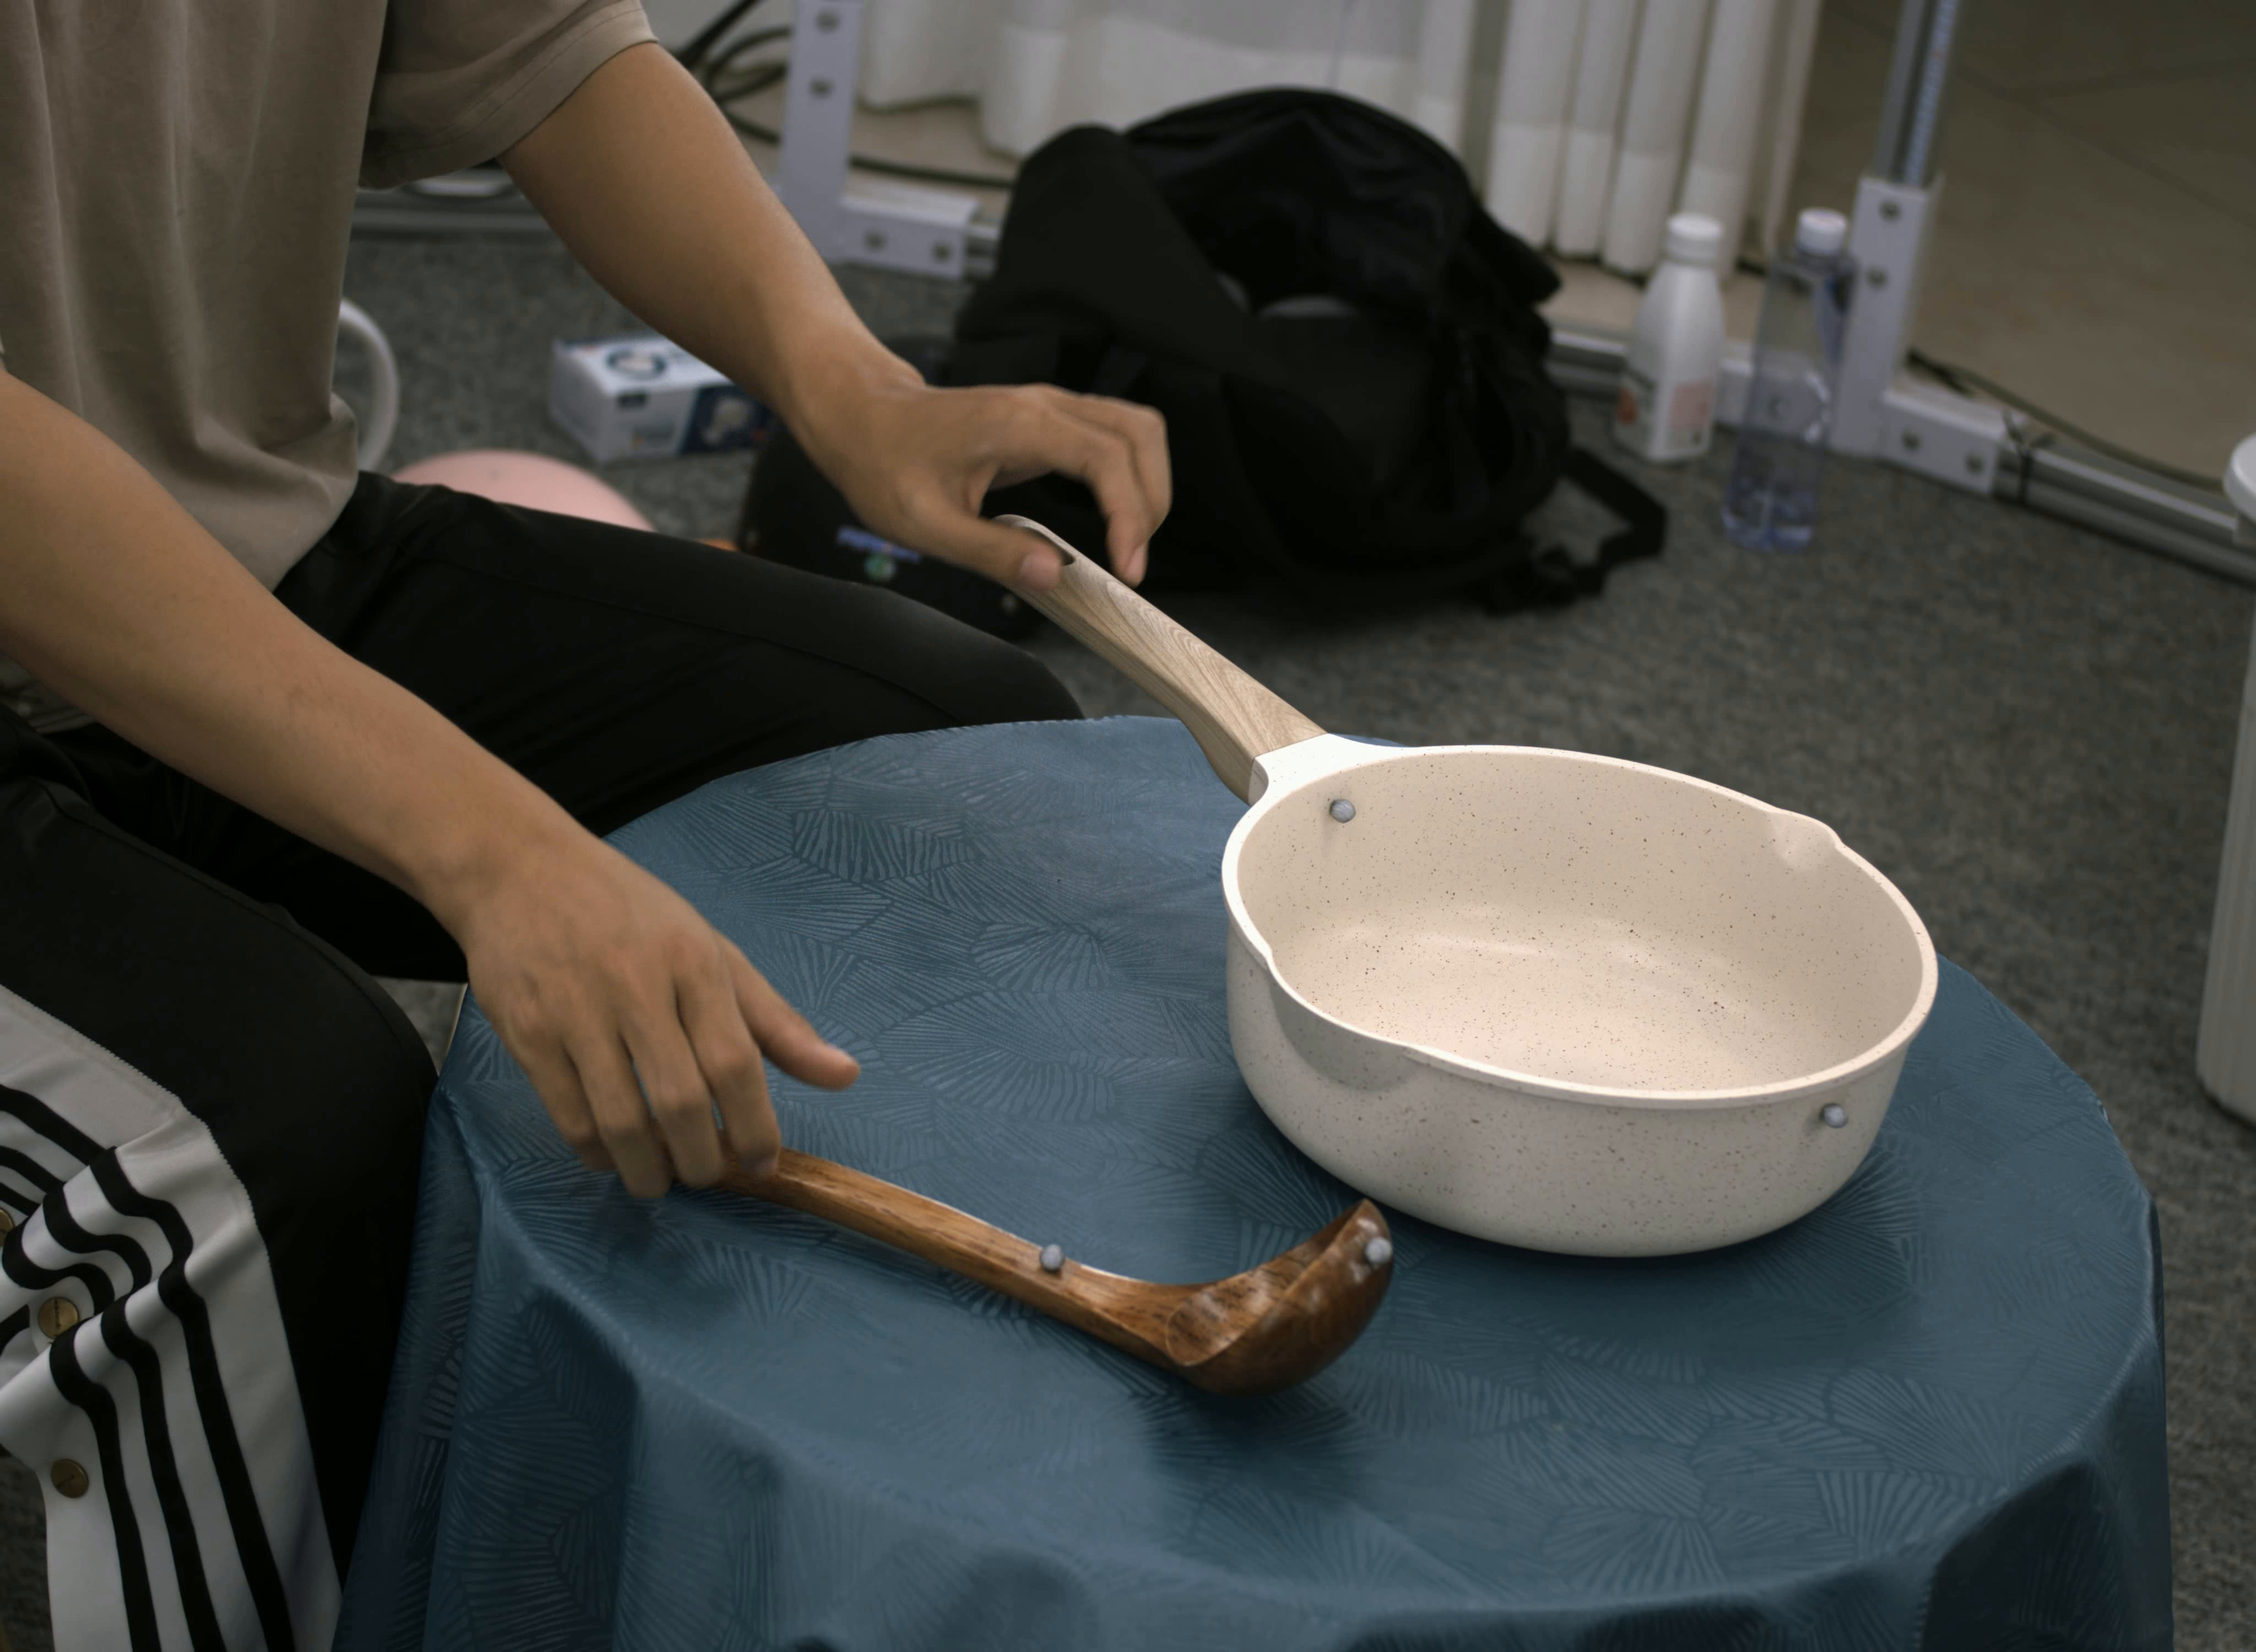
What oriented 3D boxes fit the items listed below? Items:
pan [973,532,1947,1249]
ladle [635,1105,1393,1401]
[{"bbox_3d":[0.094,0.019,1.923,0.262,0.101,0.438,-20,37,-39],"label":"pan"},{"bbox_3d":[-0.042,0.118,1.720,0.275,0.076,0.082,20,31,23],"label":"ladle"}]
